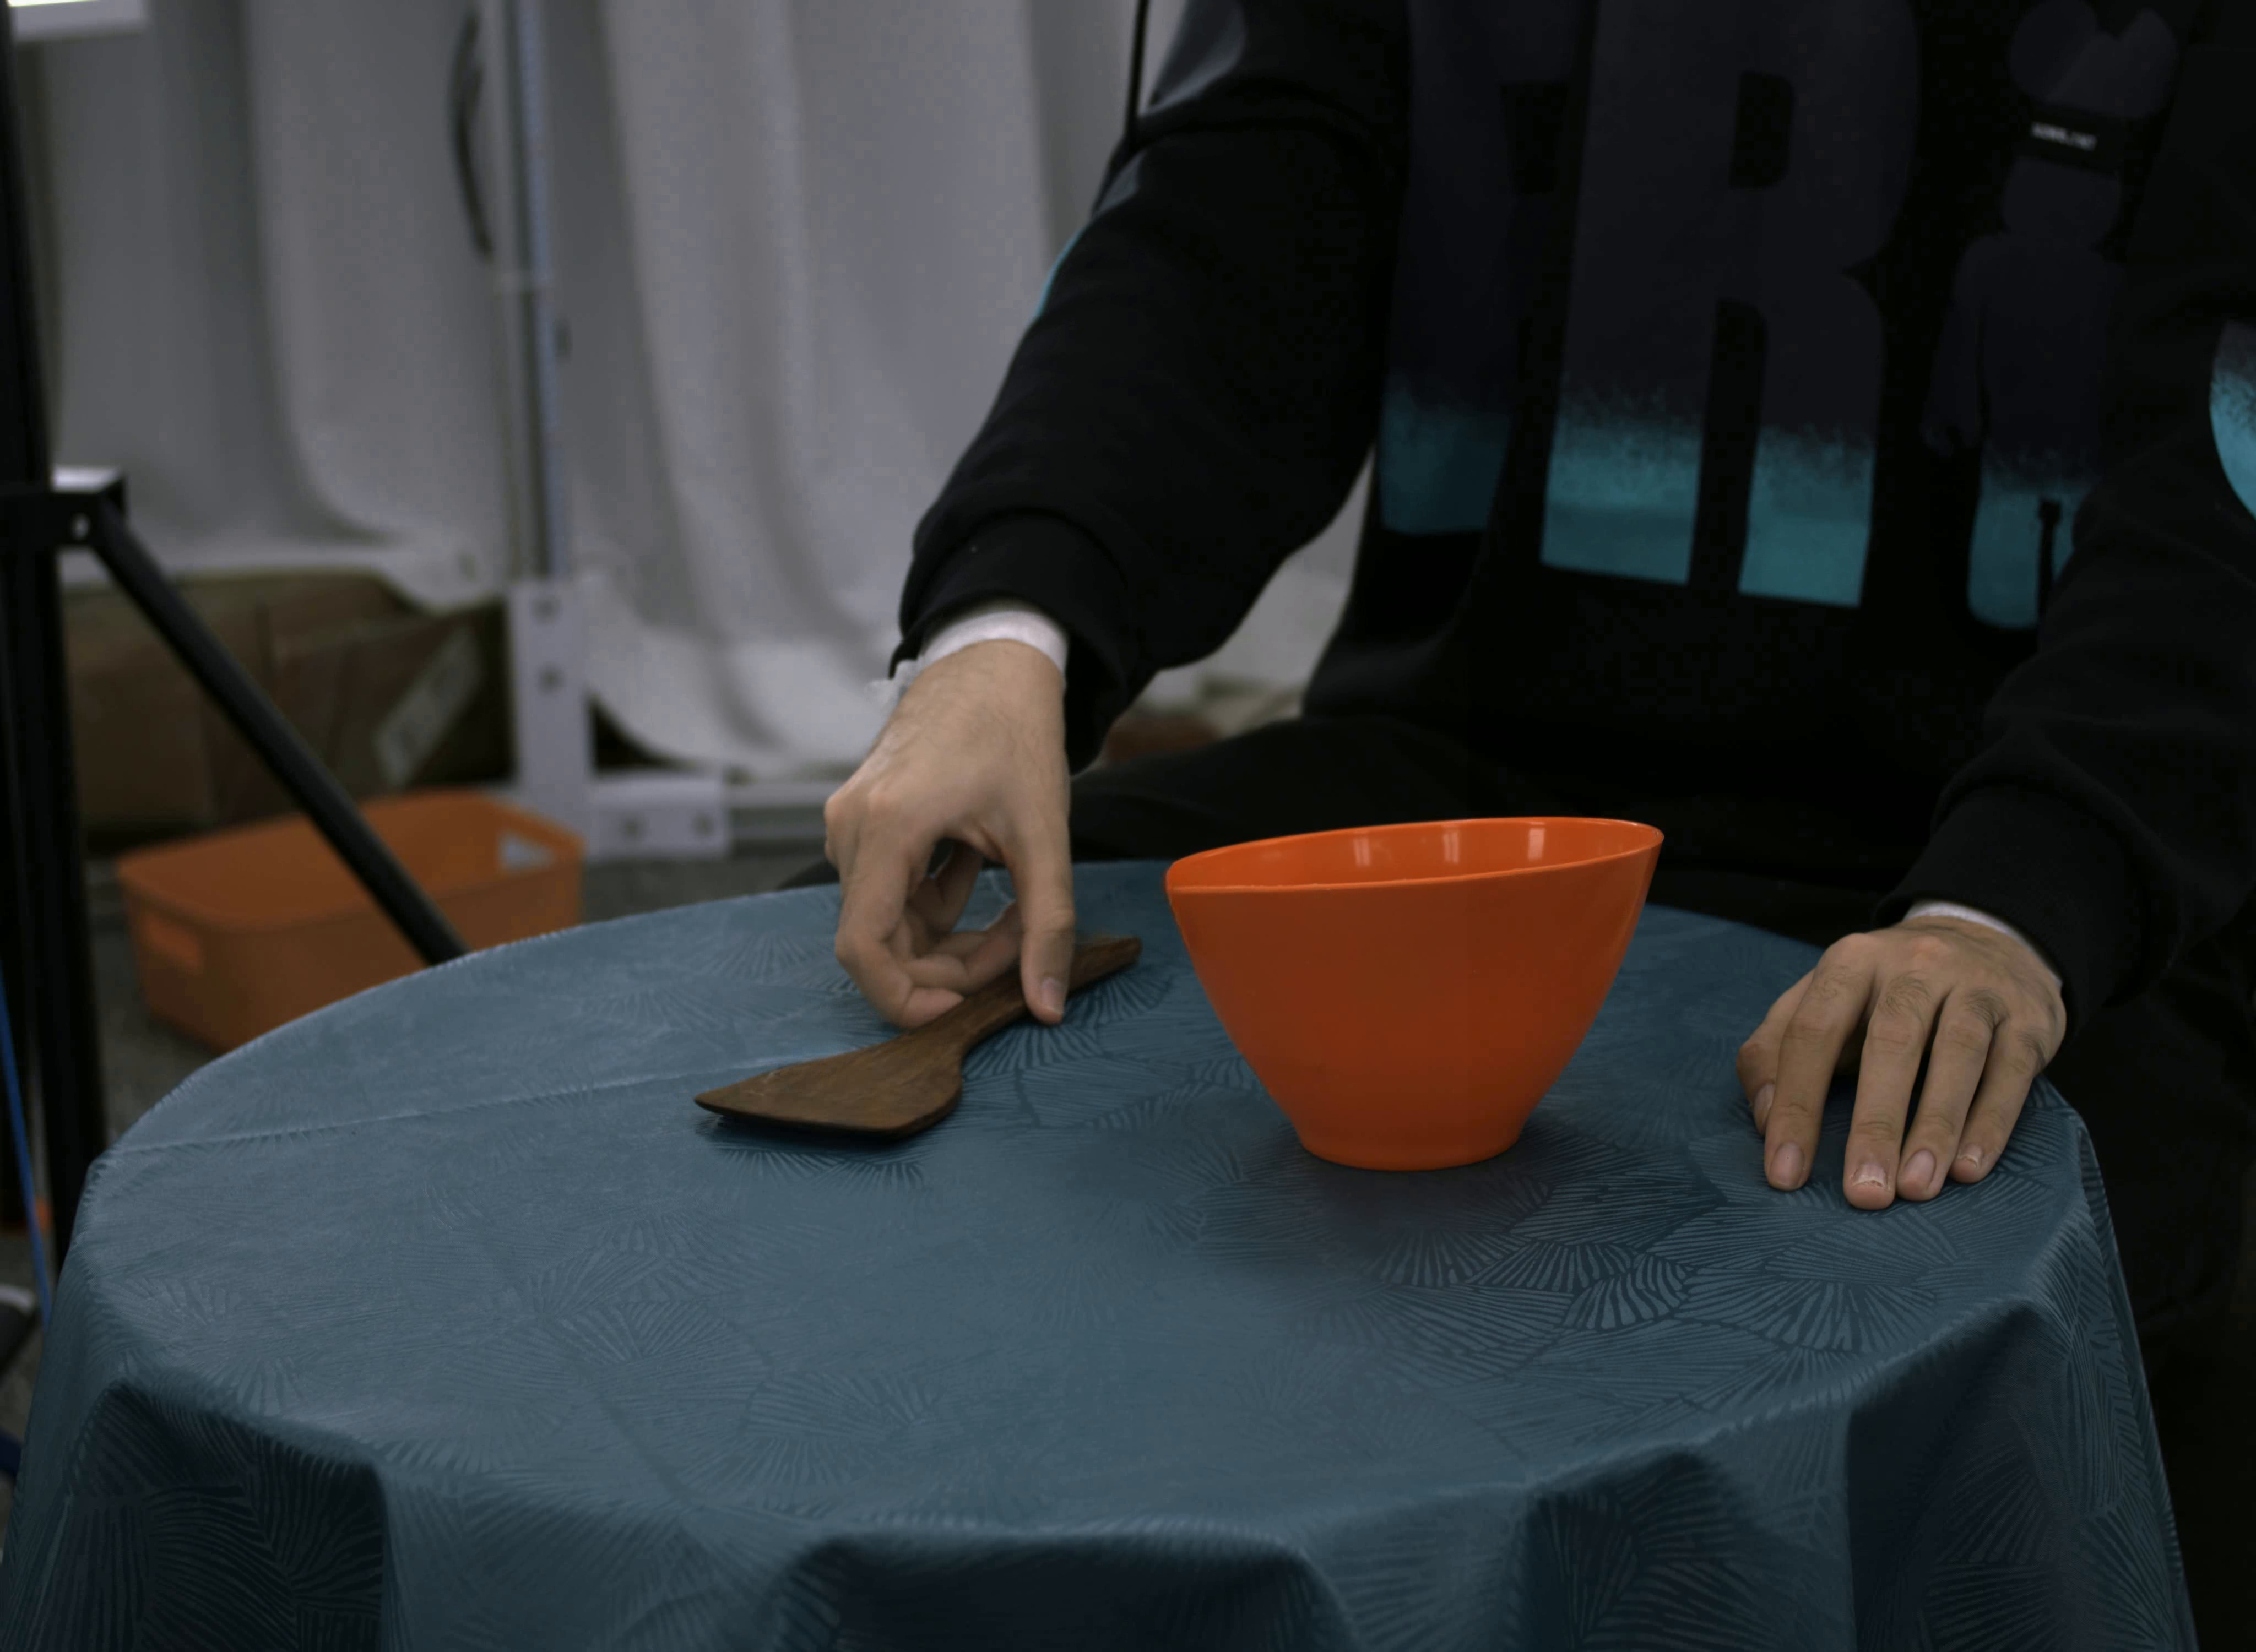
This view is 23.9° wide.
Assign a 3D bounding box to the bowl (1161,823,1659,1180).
[{"bbox_3d":[0.084,0.049,1.571,0.147,0.104,0.149,-3,14,-1],"label":"bowl"}]

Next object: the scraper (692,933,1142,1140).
[{"bbox_3d":[-0.055,0.066,1.699,0.077,0.011,0.207,8,19,29],"label":"scraper"}]
